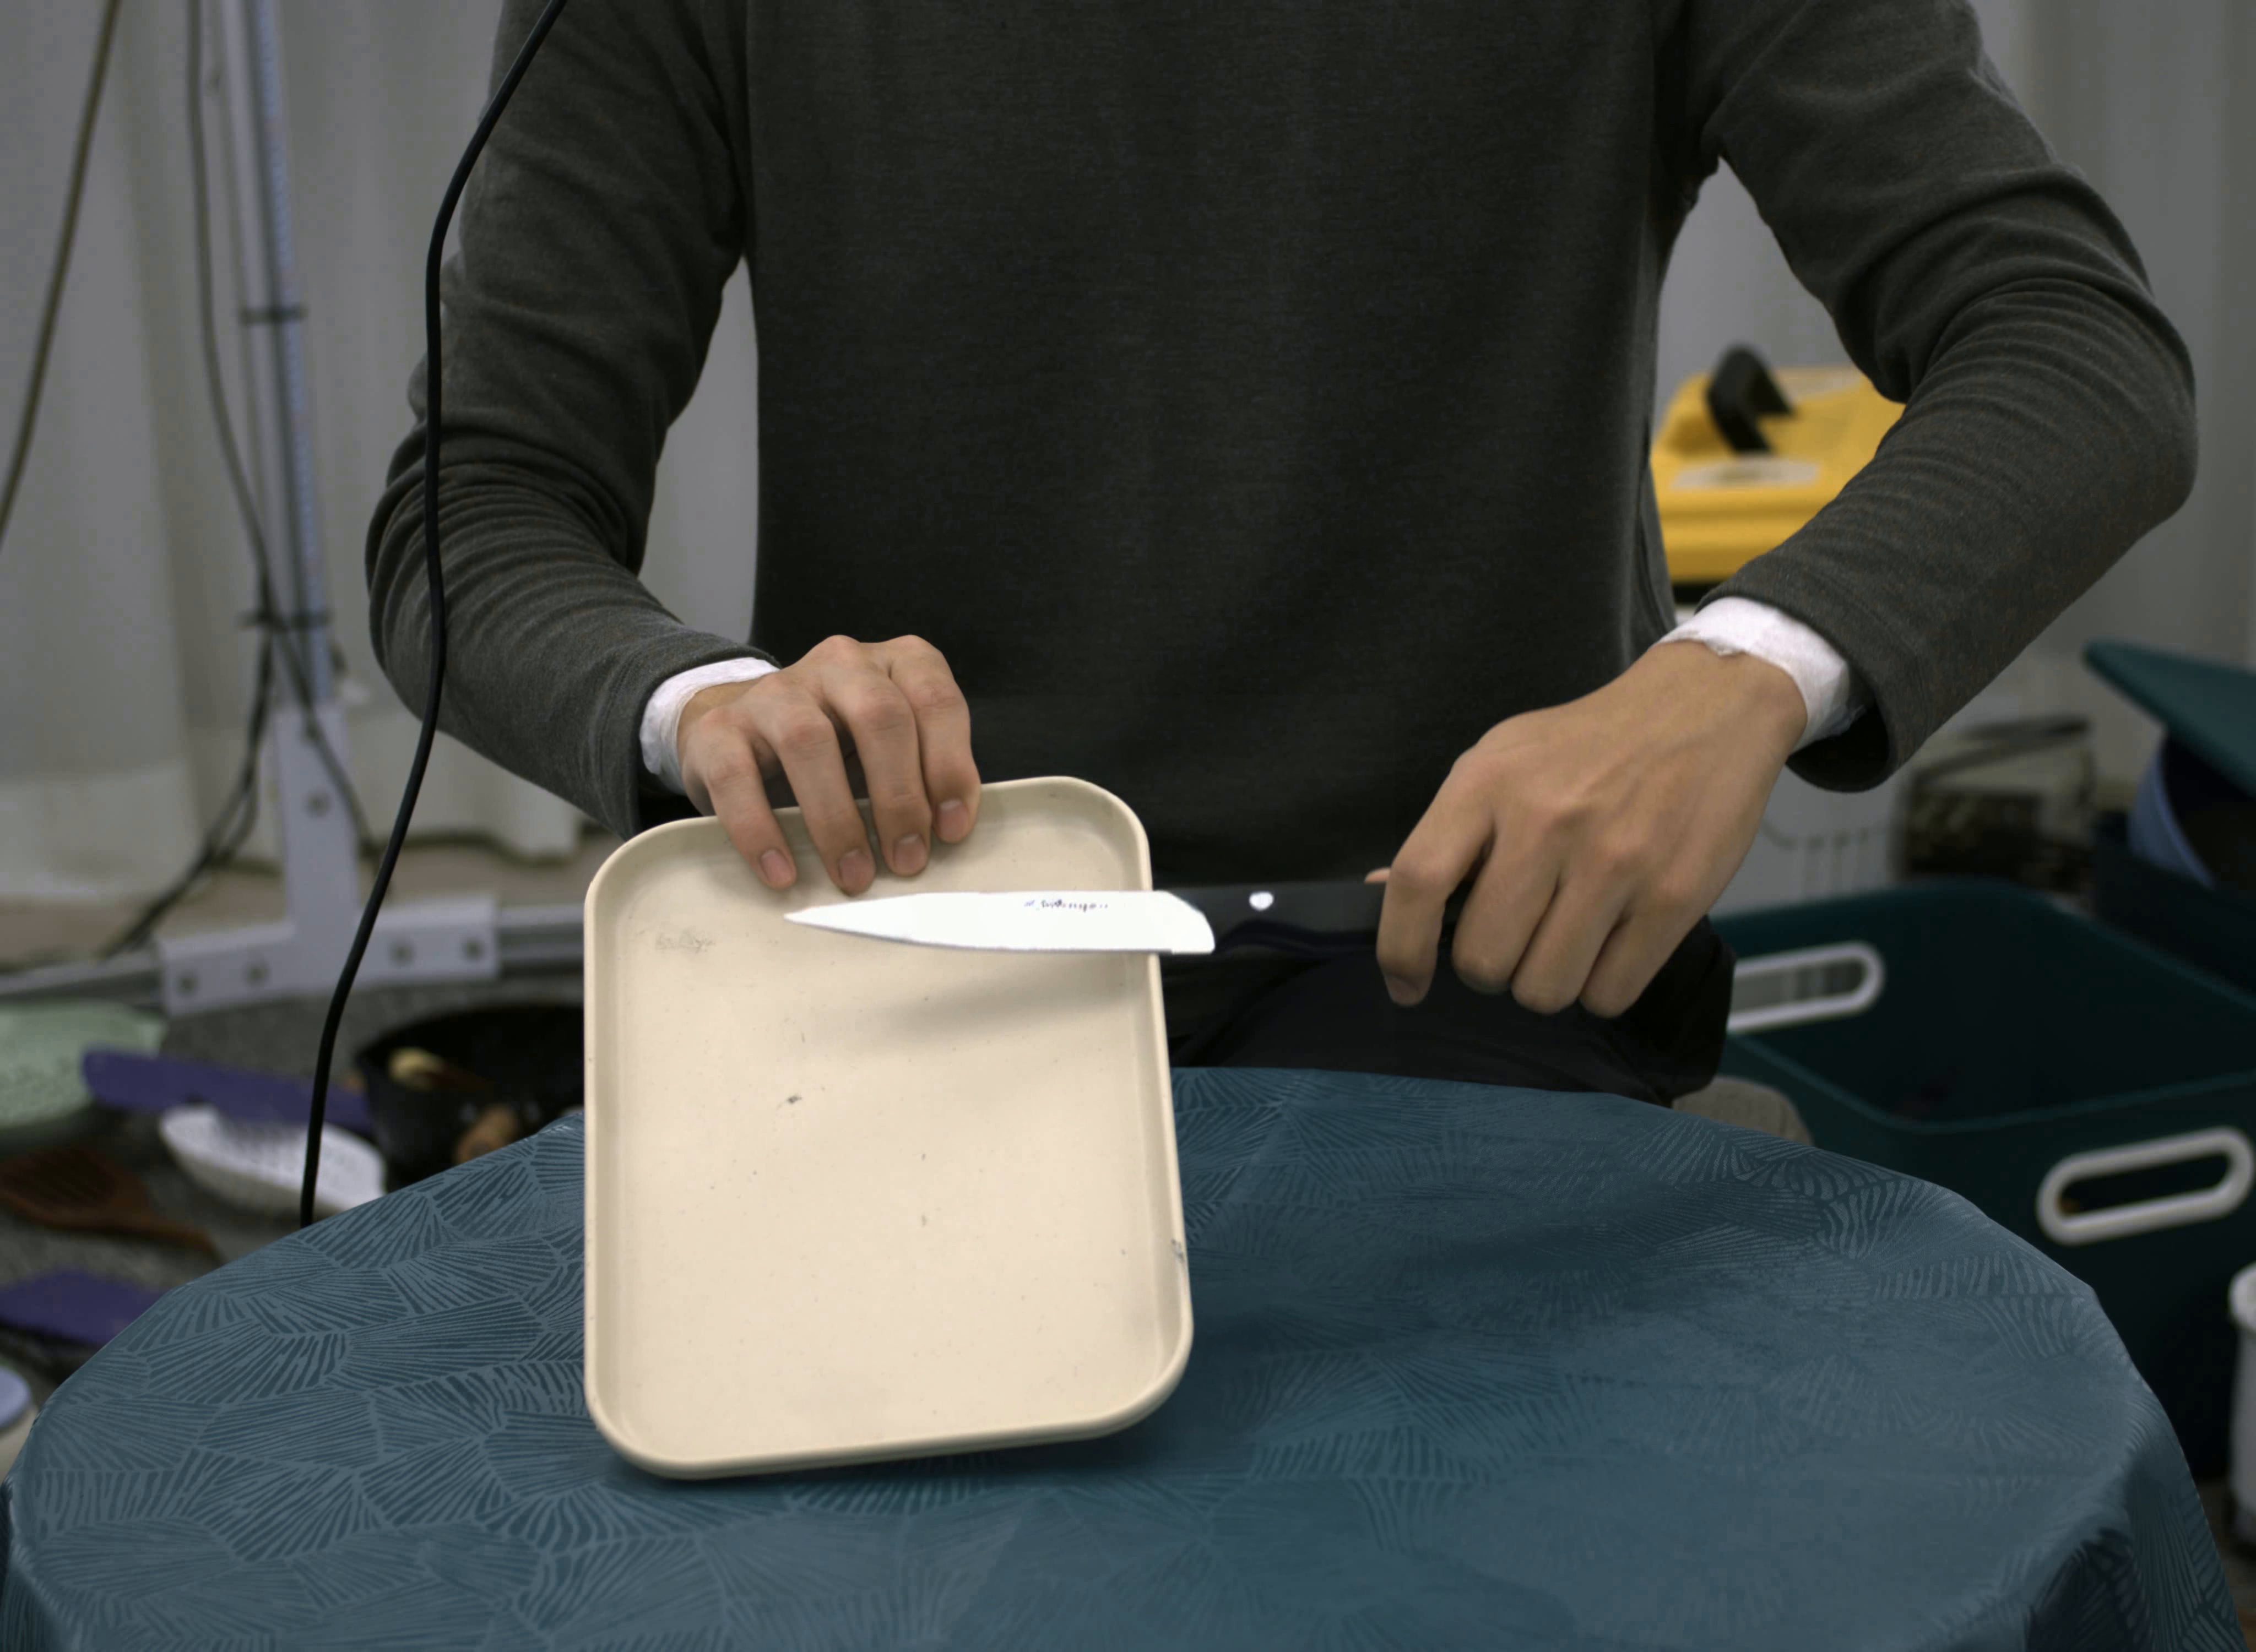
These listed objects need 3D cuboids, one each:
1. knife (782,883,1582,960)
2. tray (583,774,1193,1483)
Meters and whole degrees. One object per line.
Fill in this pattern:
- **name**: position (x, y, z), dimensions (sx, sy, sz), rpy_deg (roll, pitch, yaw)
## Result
- **knife**: position (0.017, 0.029, 1.600), dimensions (0.237, 0.016, 0.025), rpy_deg (-1, 50, -10)
- **tray**: position (-0.071, 0.085, 1.570), dimensions (0.171, 0.017, 0.243), rpy_deg (-7, 48, 2)
